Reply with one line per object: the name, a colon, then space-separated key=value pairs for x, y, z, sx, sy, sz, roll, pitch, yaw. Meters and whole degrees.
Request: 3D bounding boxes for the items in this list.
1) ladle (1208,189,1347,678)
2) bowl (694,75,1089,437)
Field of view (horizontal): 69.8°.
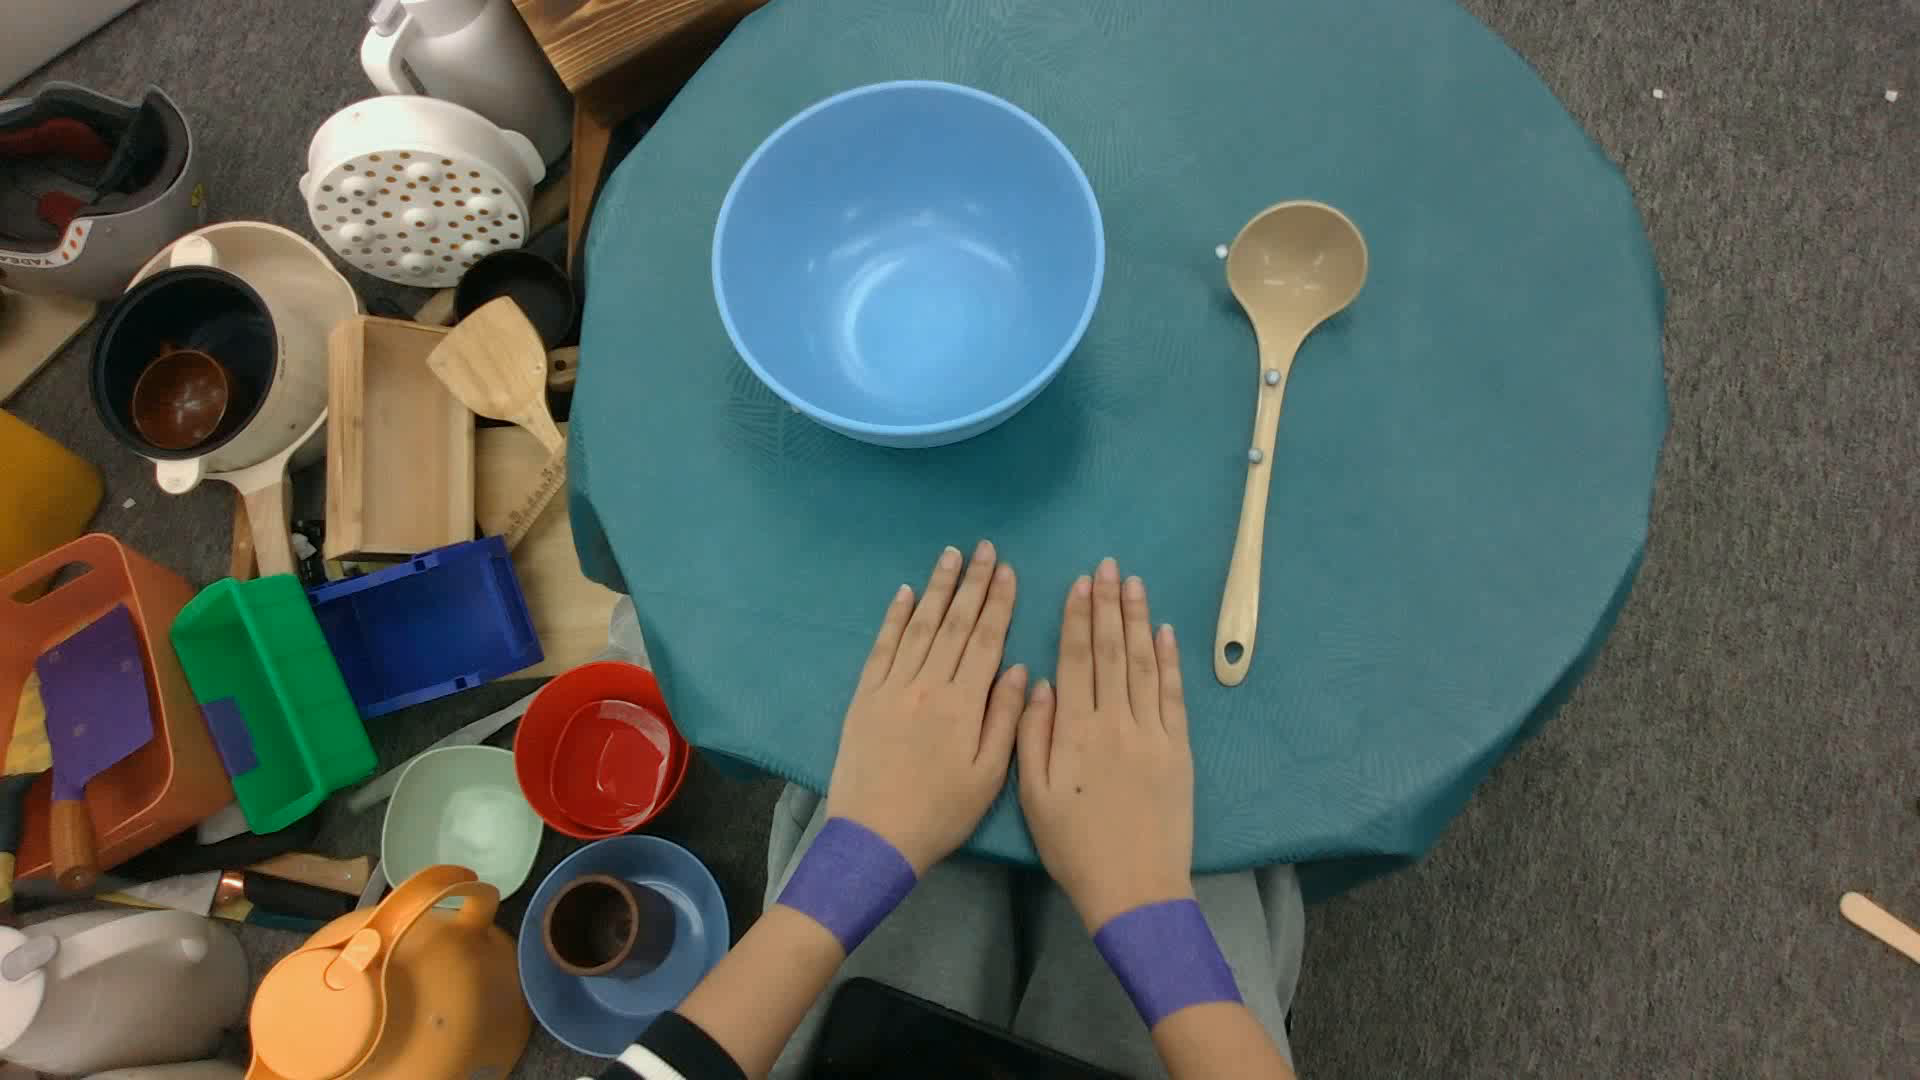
ladle: x=0.154 y=-0.060 z=0.708 sx=0.072 sy=0.072 sz=0.255 roll=8 pitch=73 yaw=5
bowl: x=-0.033 y=-0.135 z=0.727 sx=0.196 sy=0.095 sz=0.197 roll=0 pitch=72 yaw=1
